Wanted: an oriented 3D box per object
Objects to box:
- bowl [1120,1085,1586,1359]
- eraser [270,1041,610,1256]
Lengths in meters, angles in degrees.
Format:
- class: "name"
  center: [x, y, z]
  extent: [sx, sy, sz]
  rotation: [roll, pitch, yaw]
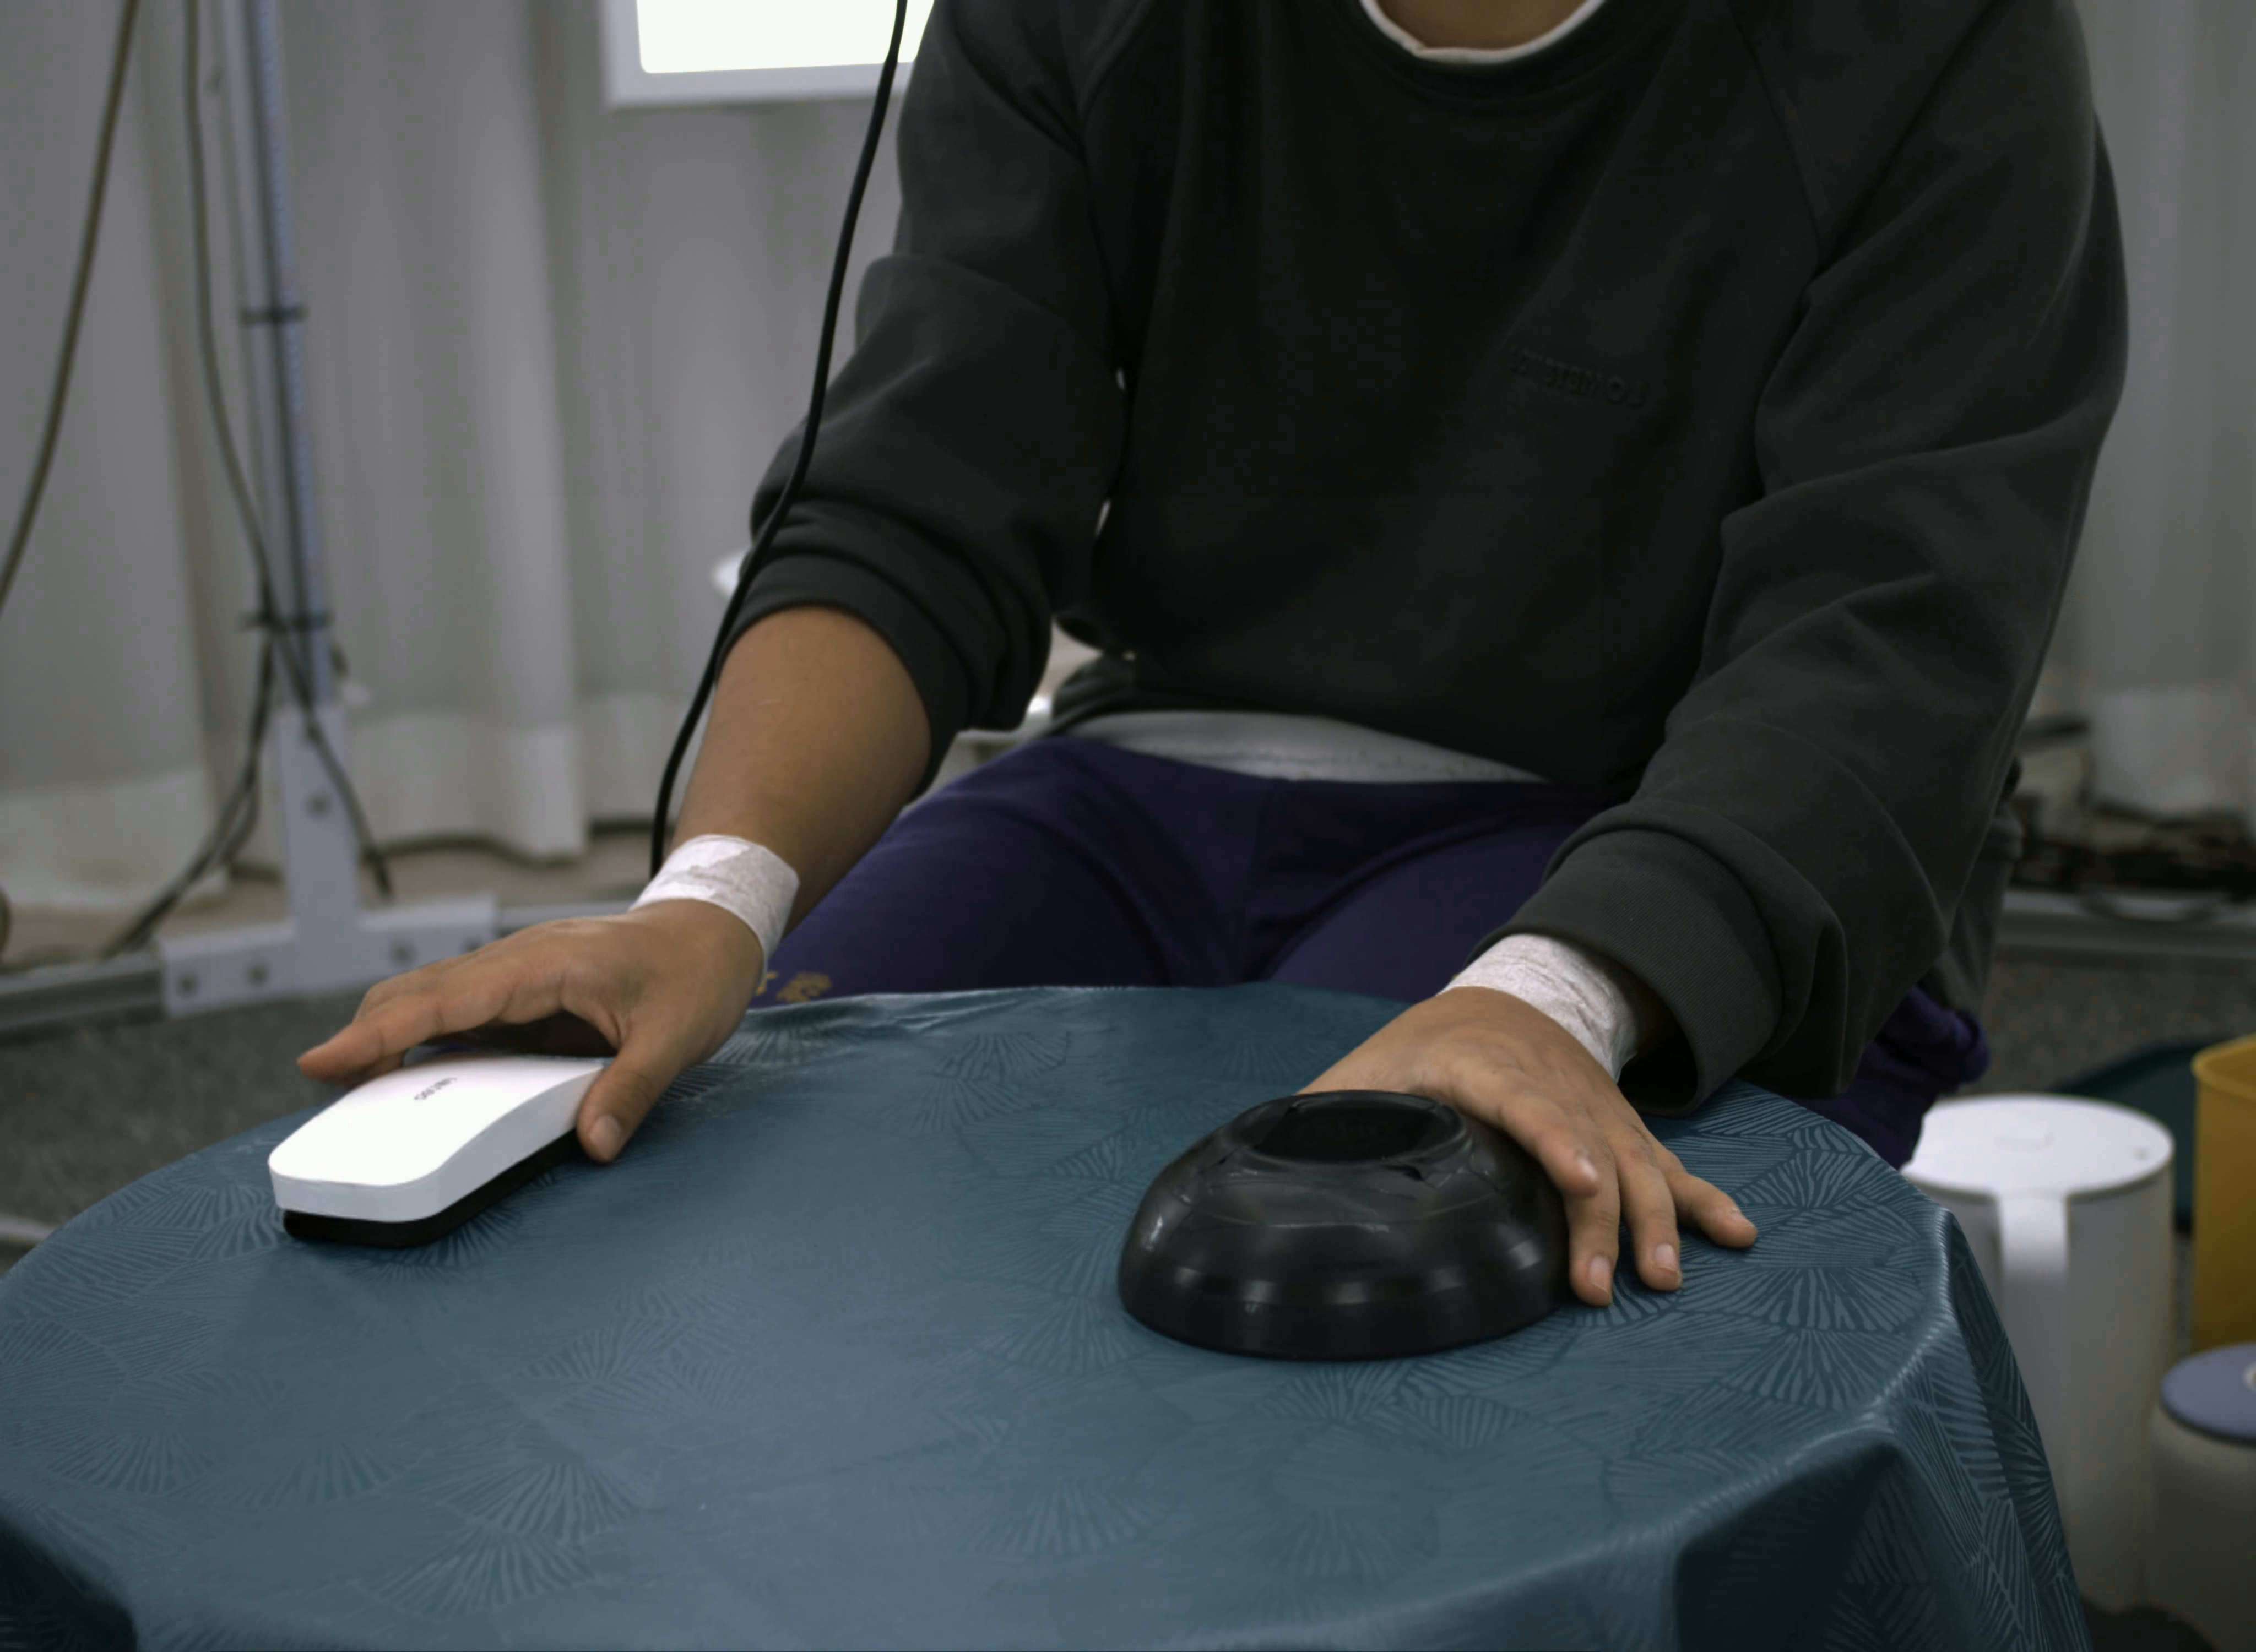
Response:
- class: "bowl"
  center: [0.065, 0.110, 1.619]
  extent: [0.139, 0.049, 0.141]
  rotation: [-4, 15, 1]
- class: "eraser"
  center: [-0.218, 0.099, 1.754]
  extent: [0.063, 0.034, 0.131]
  rotation: [6, 19, 25]
